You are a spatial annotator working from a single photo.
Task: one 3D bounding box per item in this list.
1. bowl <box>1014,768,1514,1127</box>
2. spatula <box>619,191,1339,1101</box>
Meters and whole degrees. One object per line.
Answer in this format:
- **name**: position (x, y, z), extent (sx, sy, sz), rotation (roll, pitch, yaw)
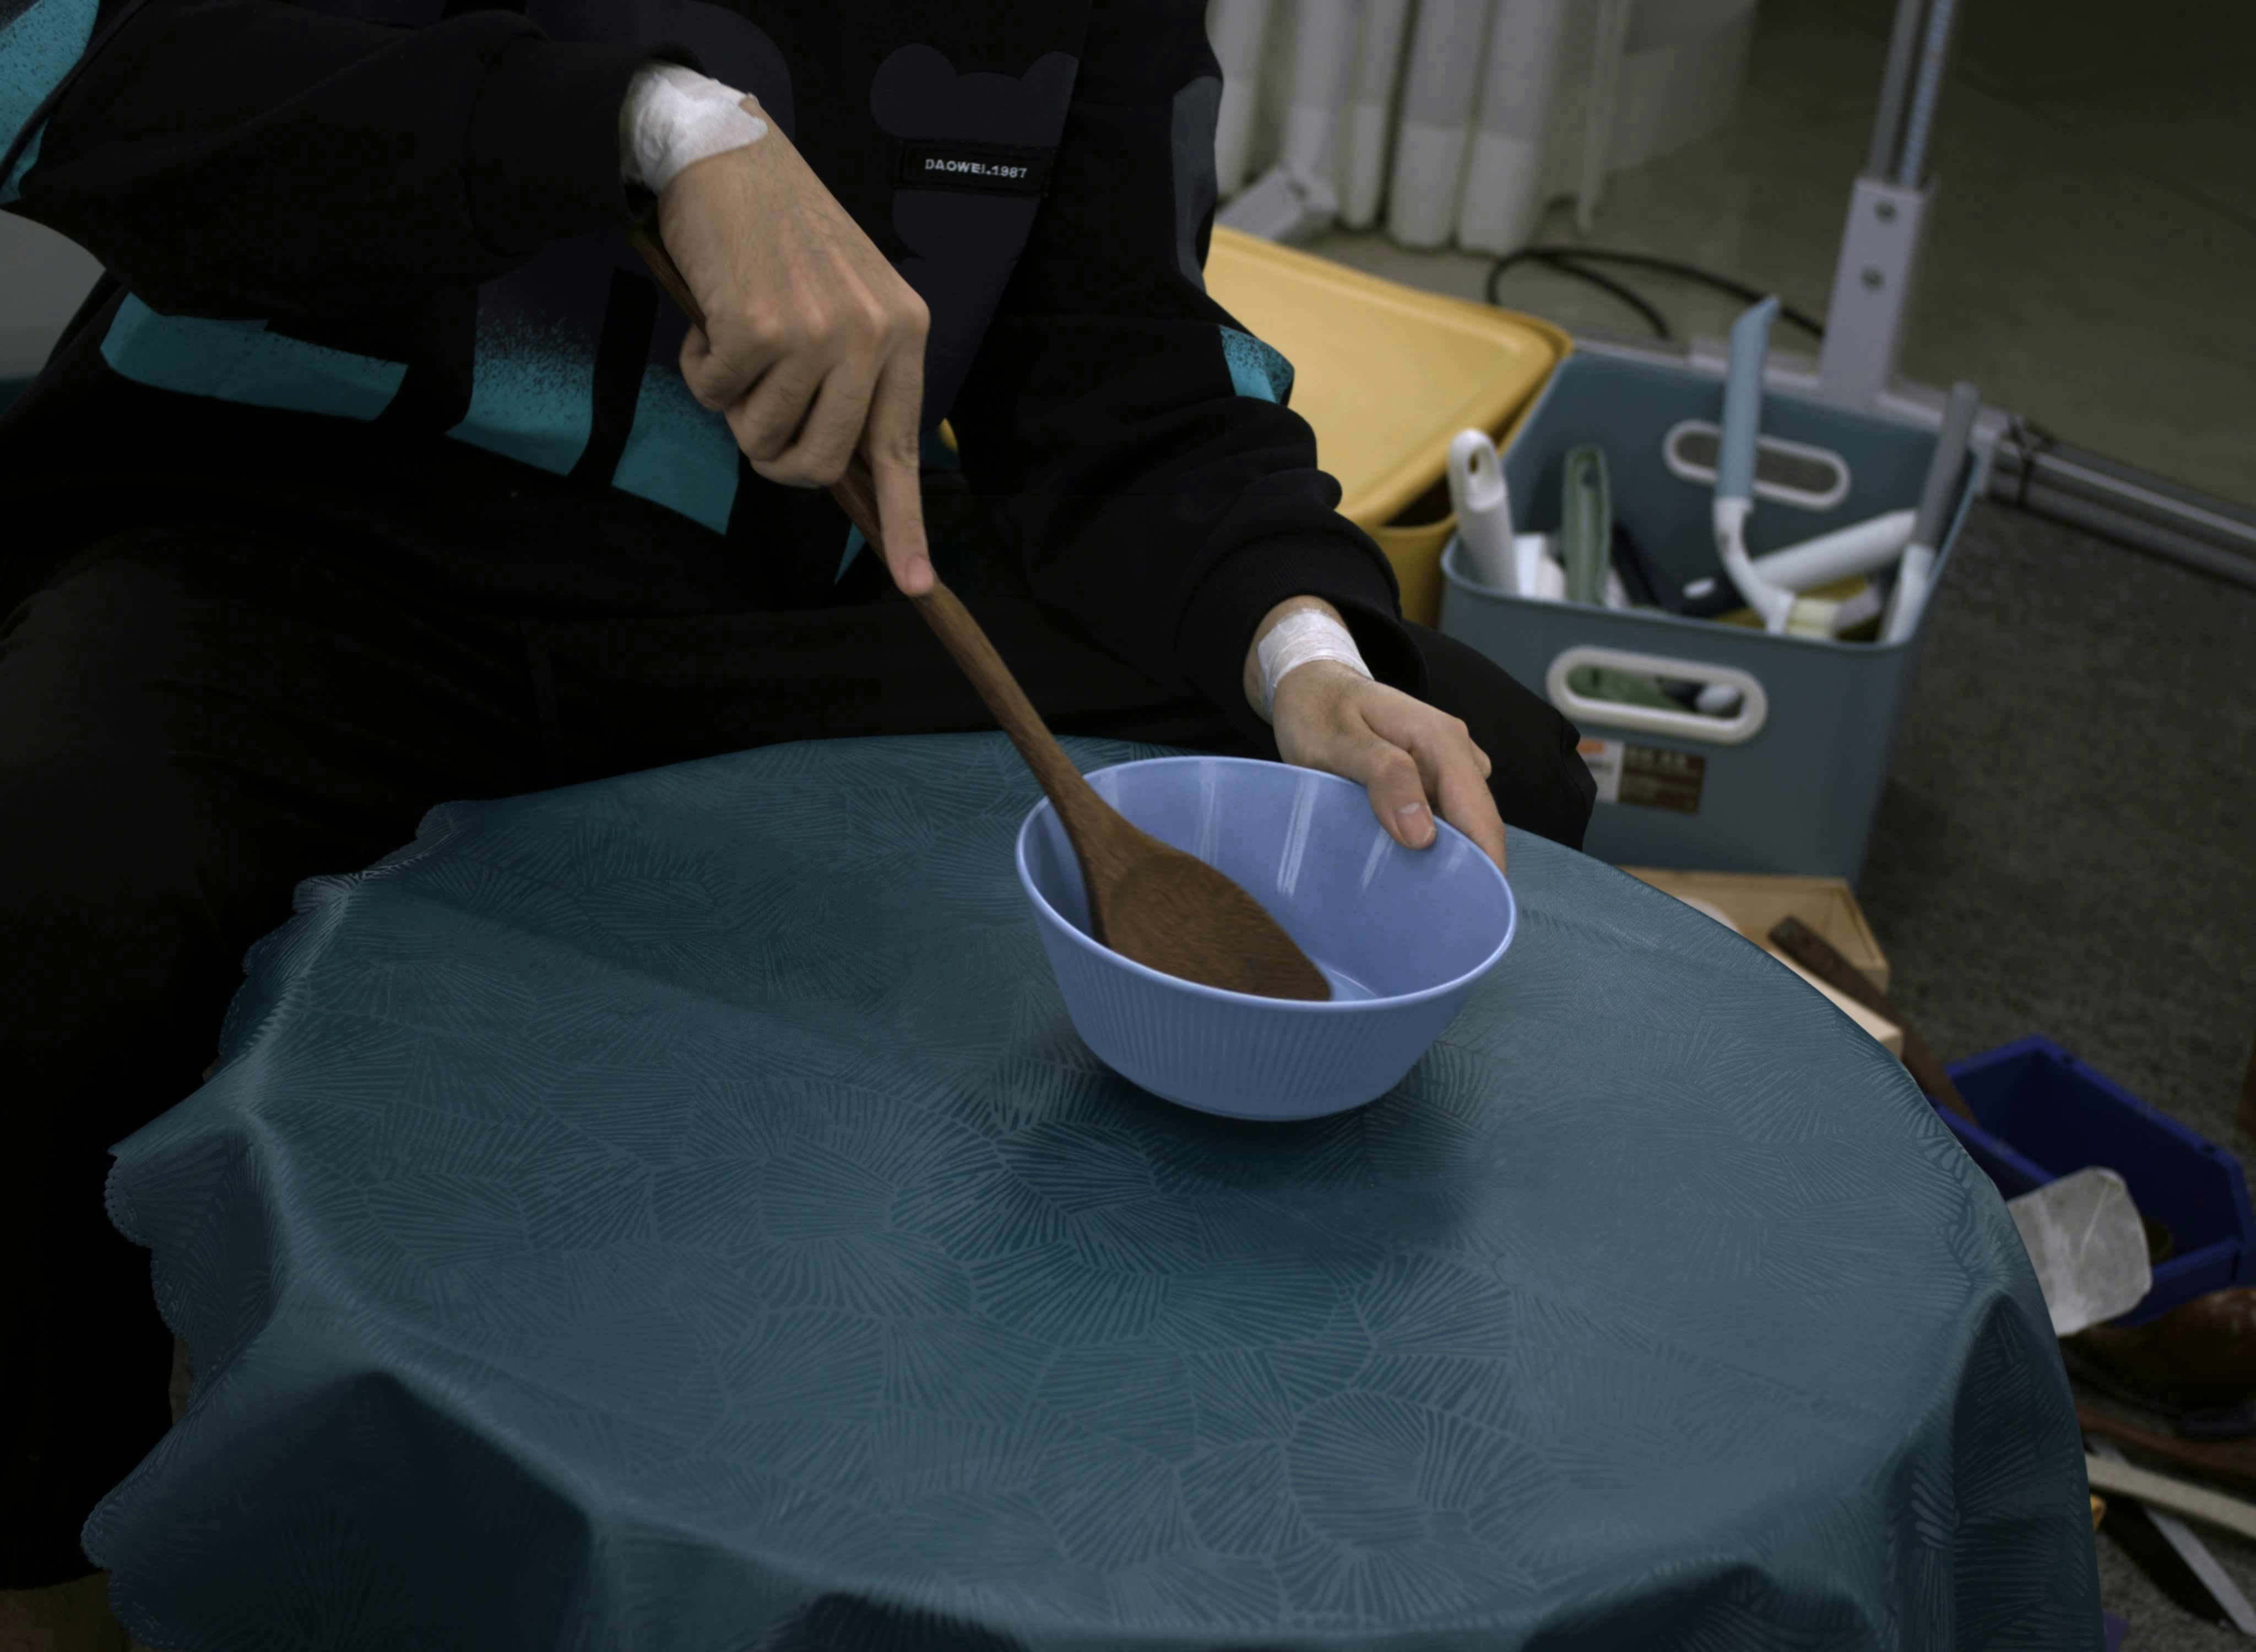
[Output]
- **bowl**: position (0.045, 0.048, 1.857), extent (0.175, 0.070, 0.177), rotation (4, 28, -2)
- **spatula**: position (-0.056, -0.067, 1.848), extent (0.386, 0.016, 0.096), rotation (53, 38, 0)
